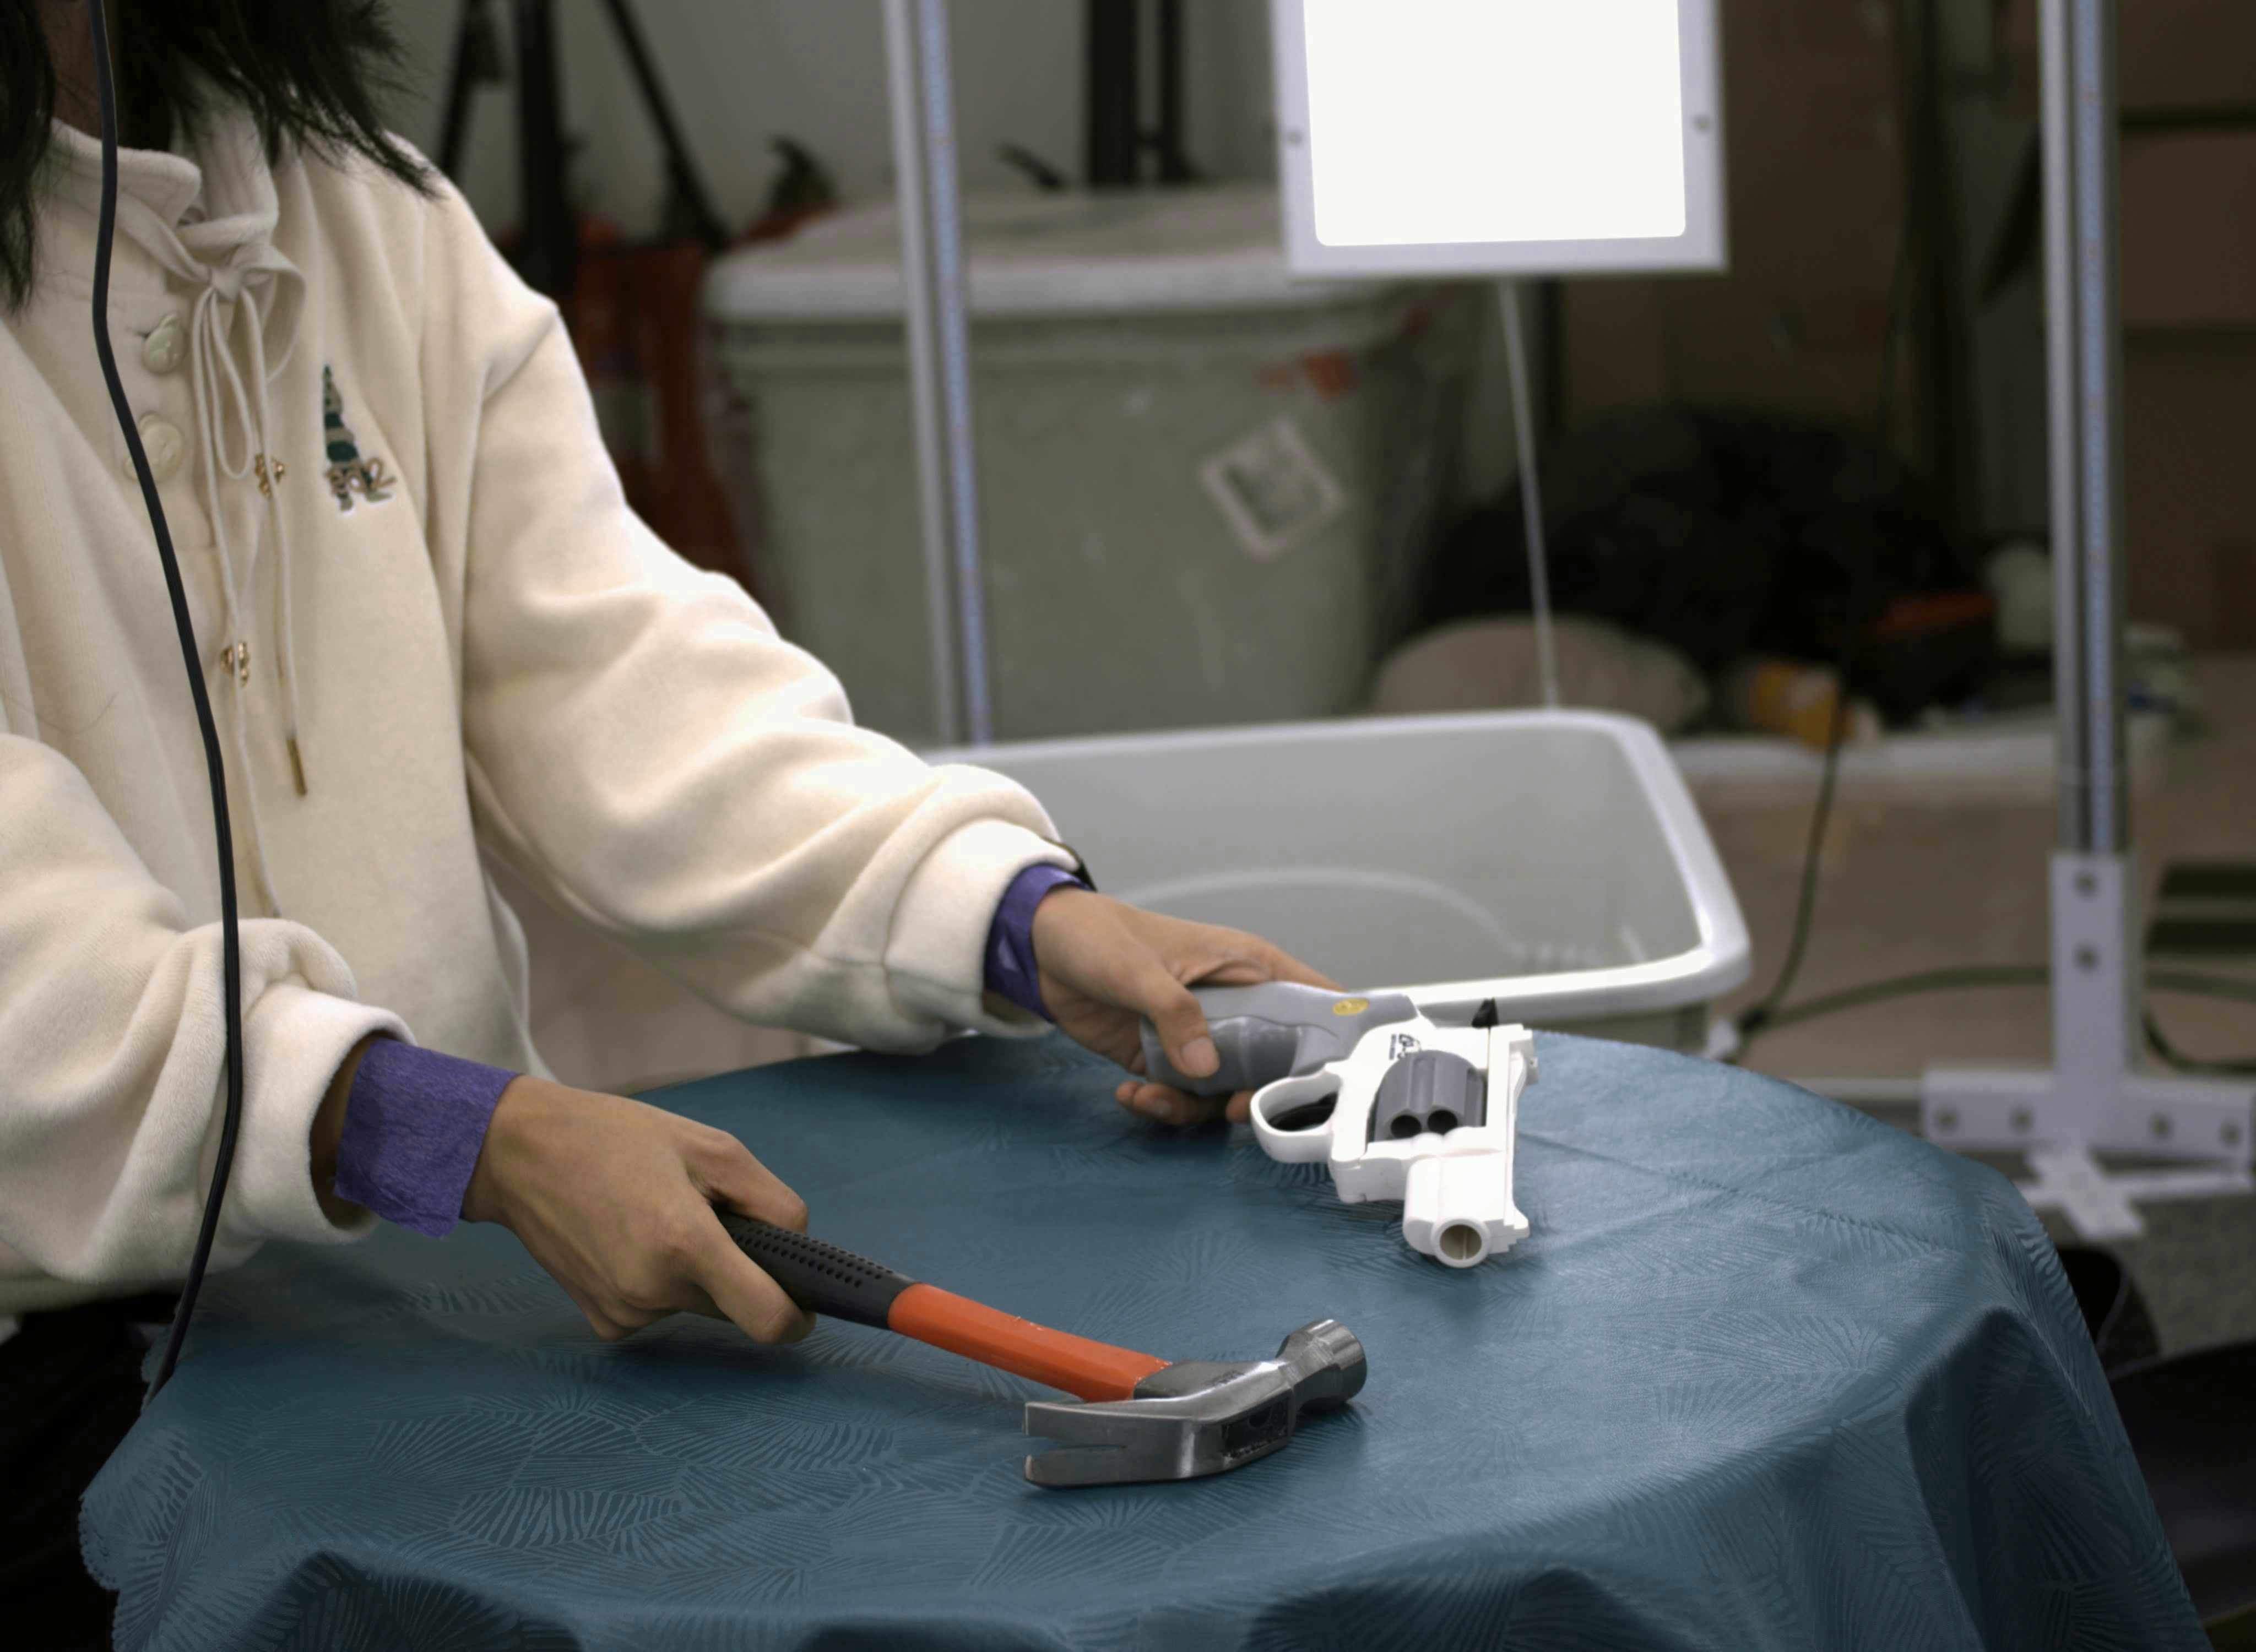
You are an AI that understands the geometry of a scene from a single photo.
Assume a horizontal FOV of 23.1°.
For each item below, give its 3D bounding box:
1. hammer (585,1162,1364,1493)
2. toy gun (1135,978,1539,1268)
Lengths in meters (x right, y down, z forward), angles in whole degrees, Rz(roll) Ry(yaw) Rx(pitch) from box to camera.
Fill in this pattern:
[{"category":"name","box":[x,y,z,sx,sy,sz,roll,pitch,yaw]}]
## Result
[{"category":"hammer","box":[-0.066,0.148,1.718,0.283,0.026,0.108,14,32,40]},{"category":"toy gun","box":[0.071,0.098,1.882,0.142,0.039,0.208,-8,24,7]}]
